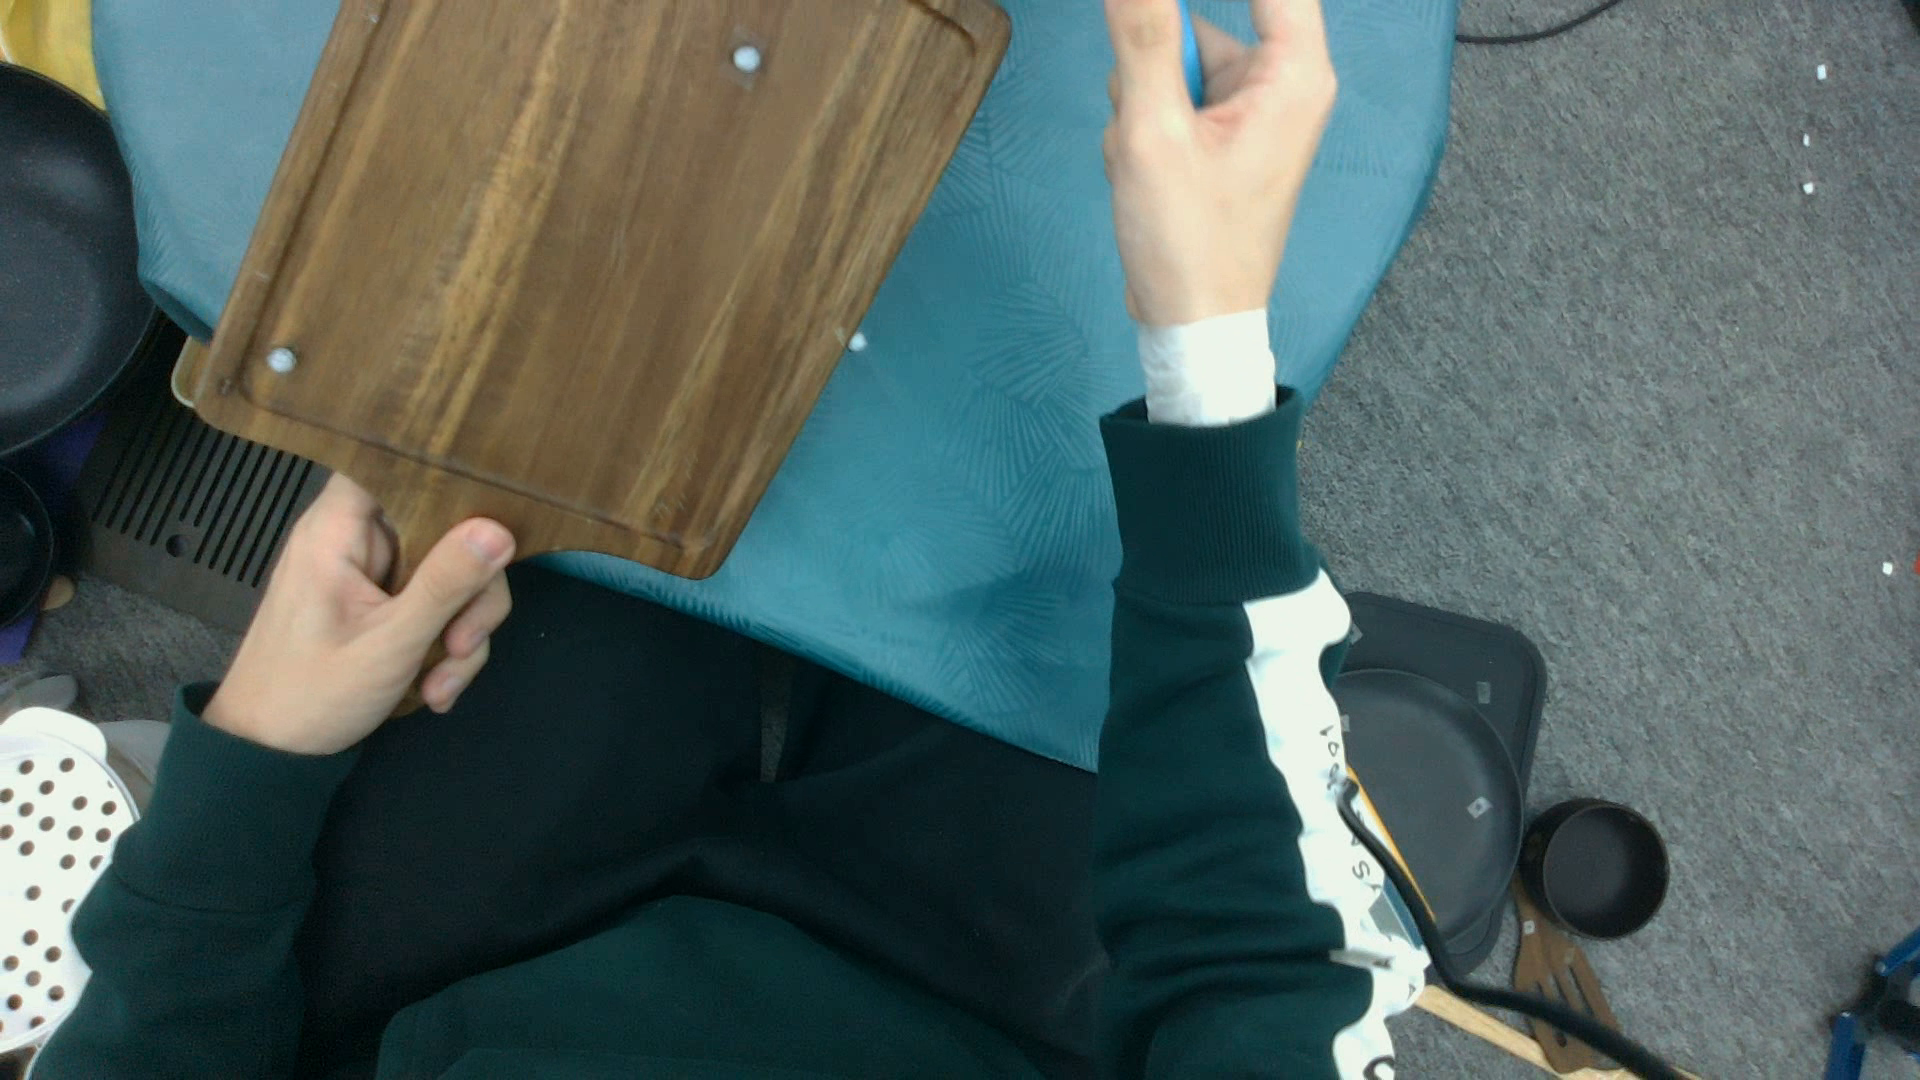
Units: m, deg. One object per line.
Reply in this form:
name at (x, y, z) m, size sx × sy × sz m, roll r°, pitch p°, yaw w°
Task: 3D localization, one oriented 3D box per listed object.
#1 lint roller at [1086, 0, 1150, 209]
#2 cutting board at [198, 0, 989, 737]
lint roller at (0.019, -0.200, 0.463) m, size 0.180 × 0.067 × 0.230 m, roll 48°, pitch 44°, yaw -7°
cutting board at (-0.149, -0.071, 0.498) m, size 0.201 × 0.023 × 0.351 m, roll 18°, pitch 112°, yaw -31°
